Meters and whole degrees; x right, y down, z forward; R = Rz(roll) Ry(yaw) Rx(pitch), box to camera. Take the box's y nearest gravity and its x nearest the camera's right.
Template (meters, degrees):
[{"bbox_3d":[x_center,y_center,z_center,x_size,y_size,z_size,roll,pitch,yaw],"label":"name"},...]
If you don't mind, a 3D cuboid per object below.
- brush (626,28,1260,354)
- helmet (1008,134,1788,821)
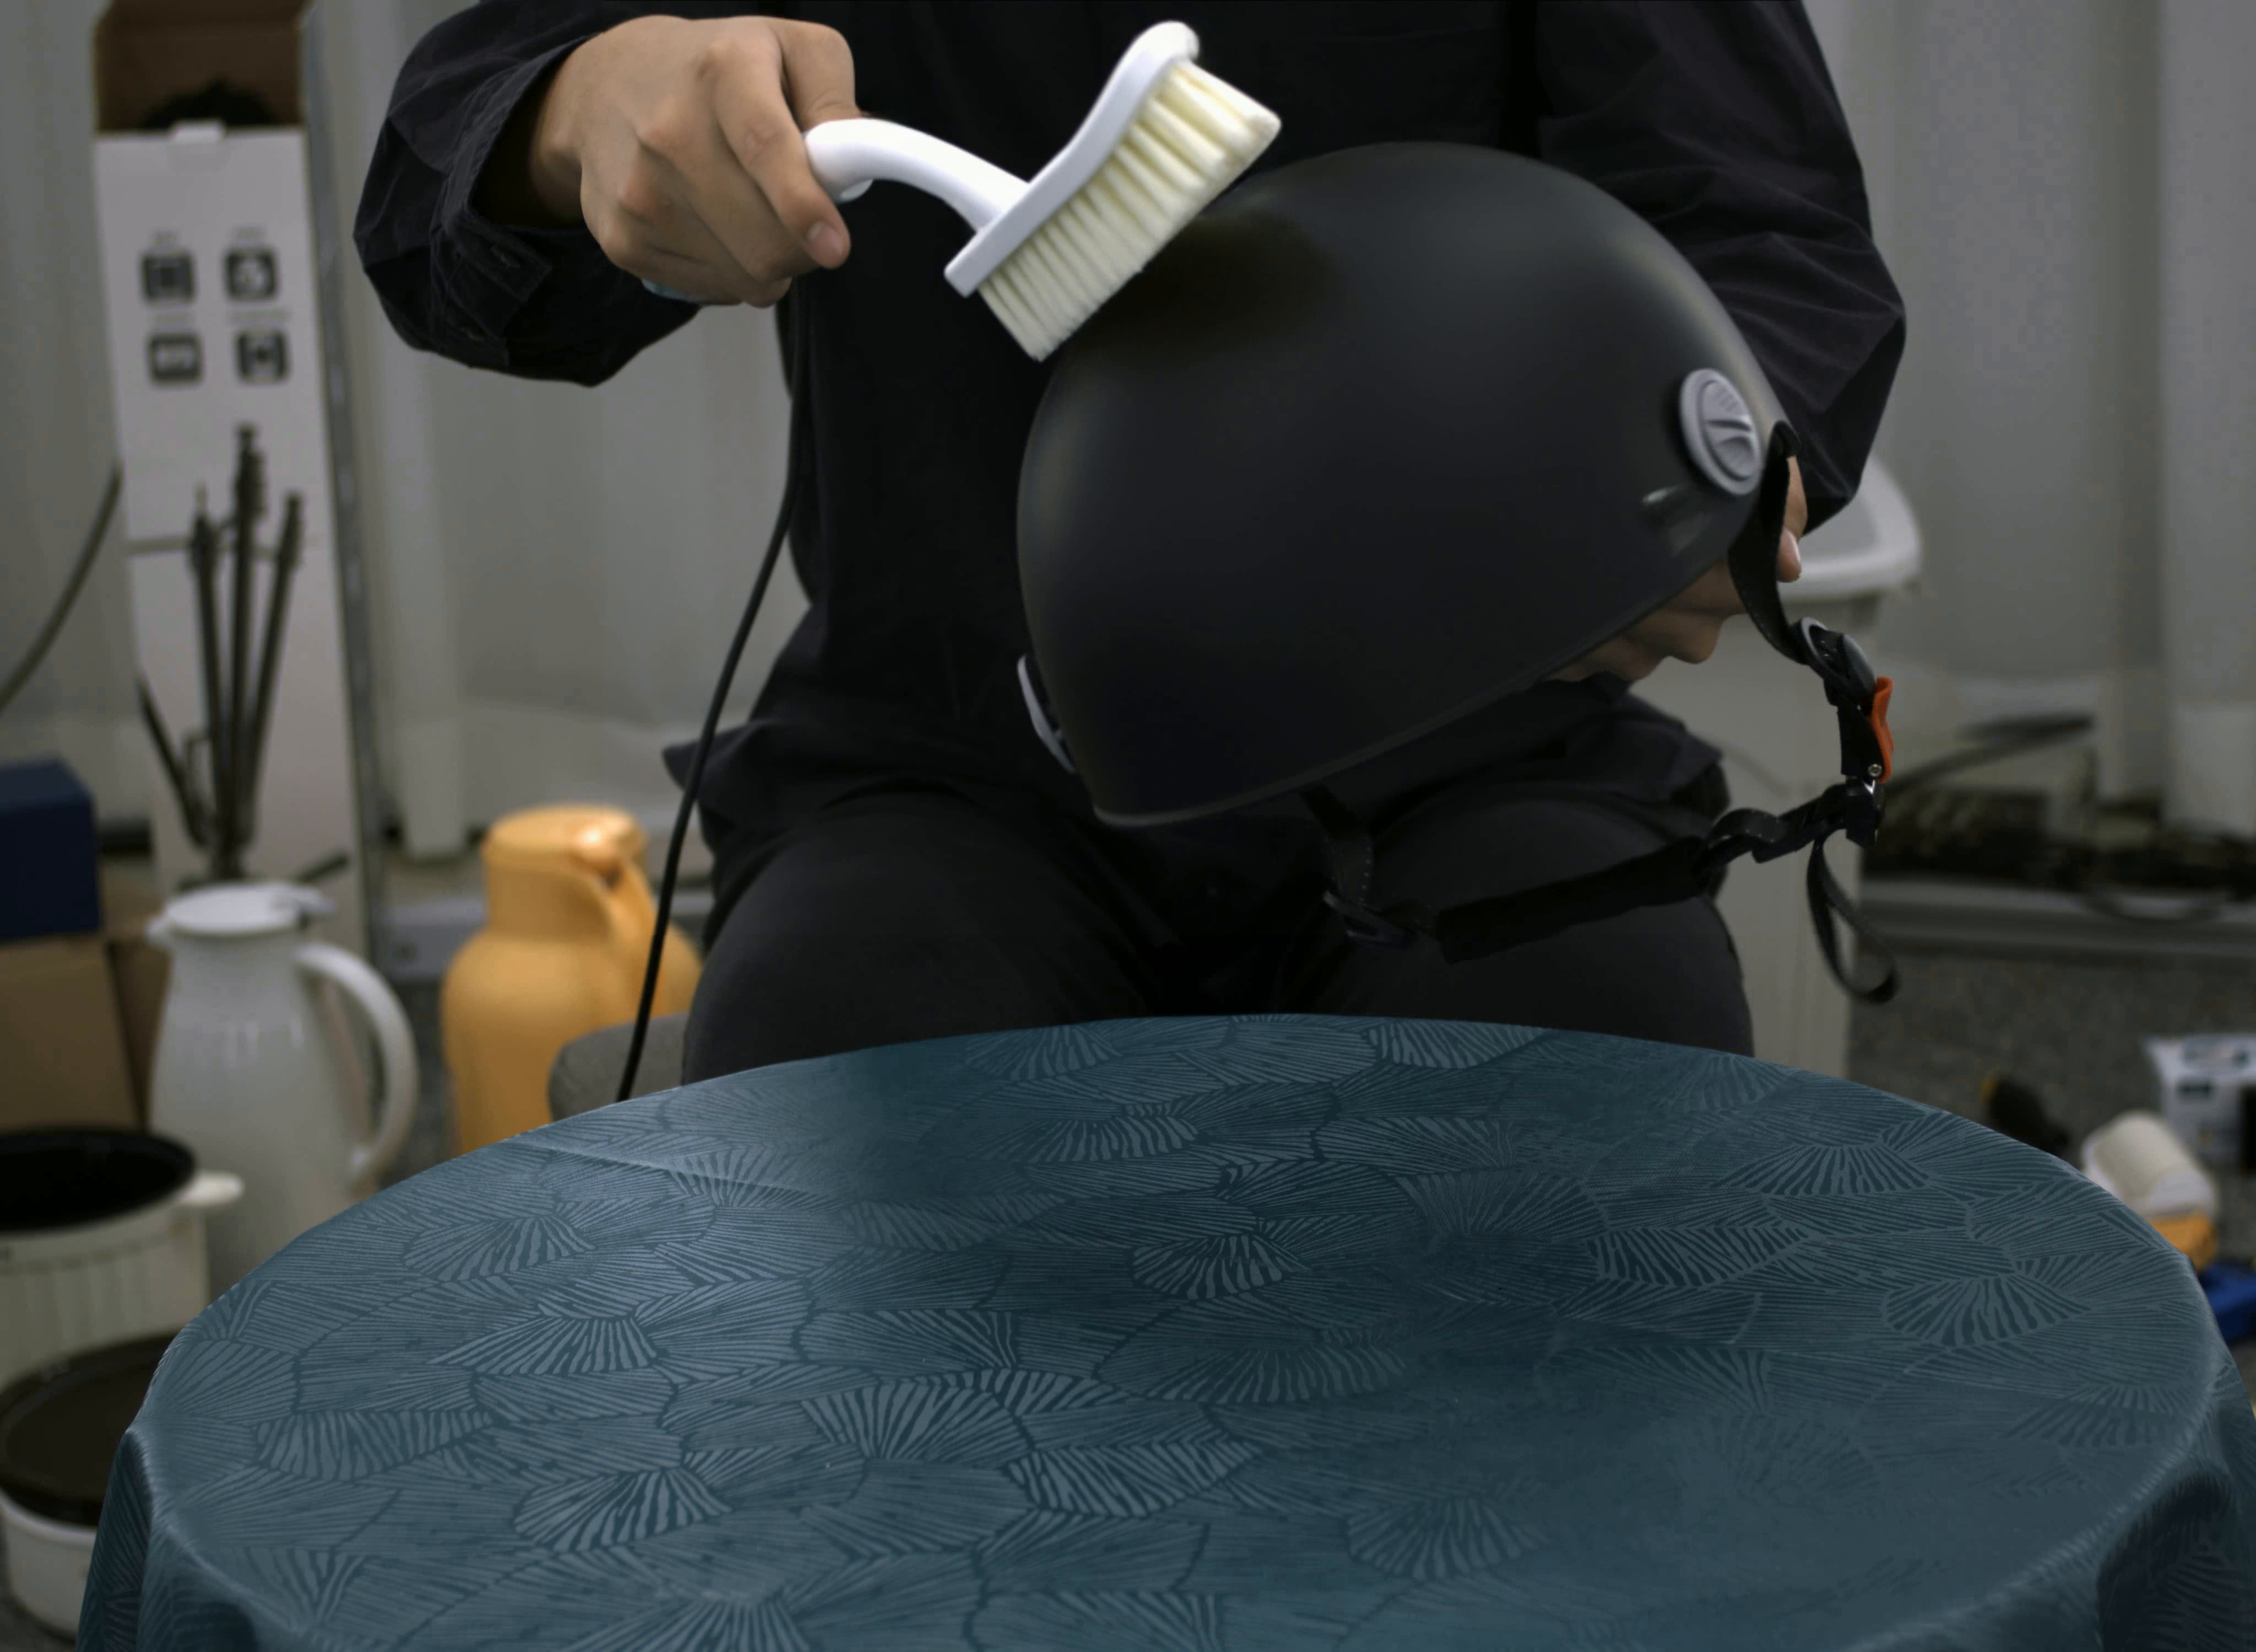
[{"bbox_3d":[-0.050,-0.176,1.642,0.083,0.085,0.325,-9,0,-30],"label":"brush"},{"bbox_3d":[0.066,-0.113,1.603,0.229,0.167,0.274,-23,5,22],"label":"helmet"}]
